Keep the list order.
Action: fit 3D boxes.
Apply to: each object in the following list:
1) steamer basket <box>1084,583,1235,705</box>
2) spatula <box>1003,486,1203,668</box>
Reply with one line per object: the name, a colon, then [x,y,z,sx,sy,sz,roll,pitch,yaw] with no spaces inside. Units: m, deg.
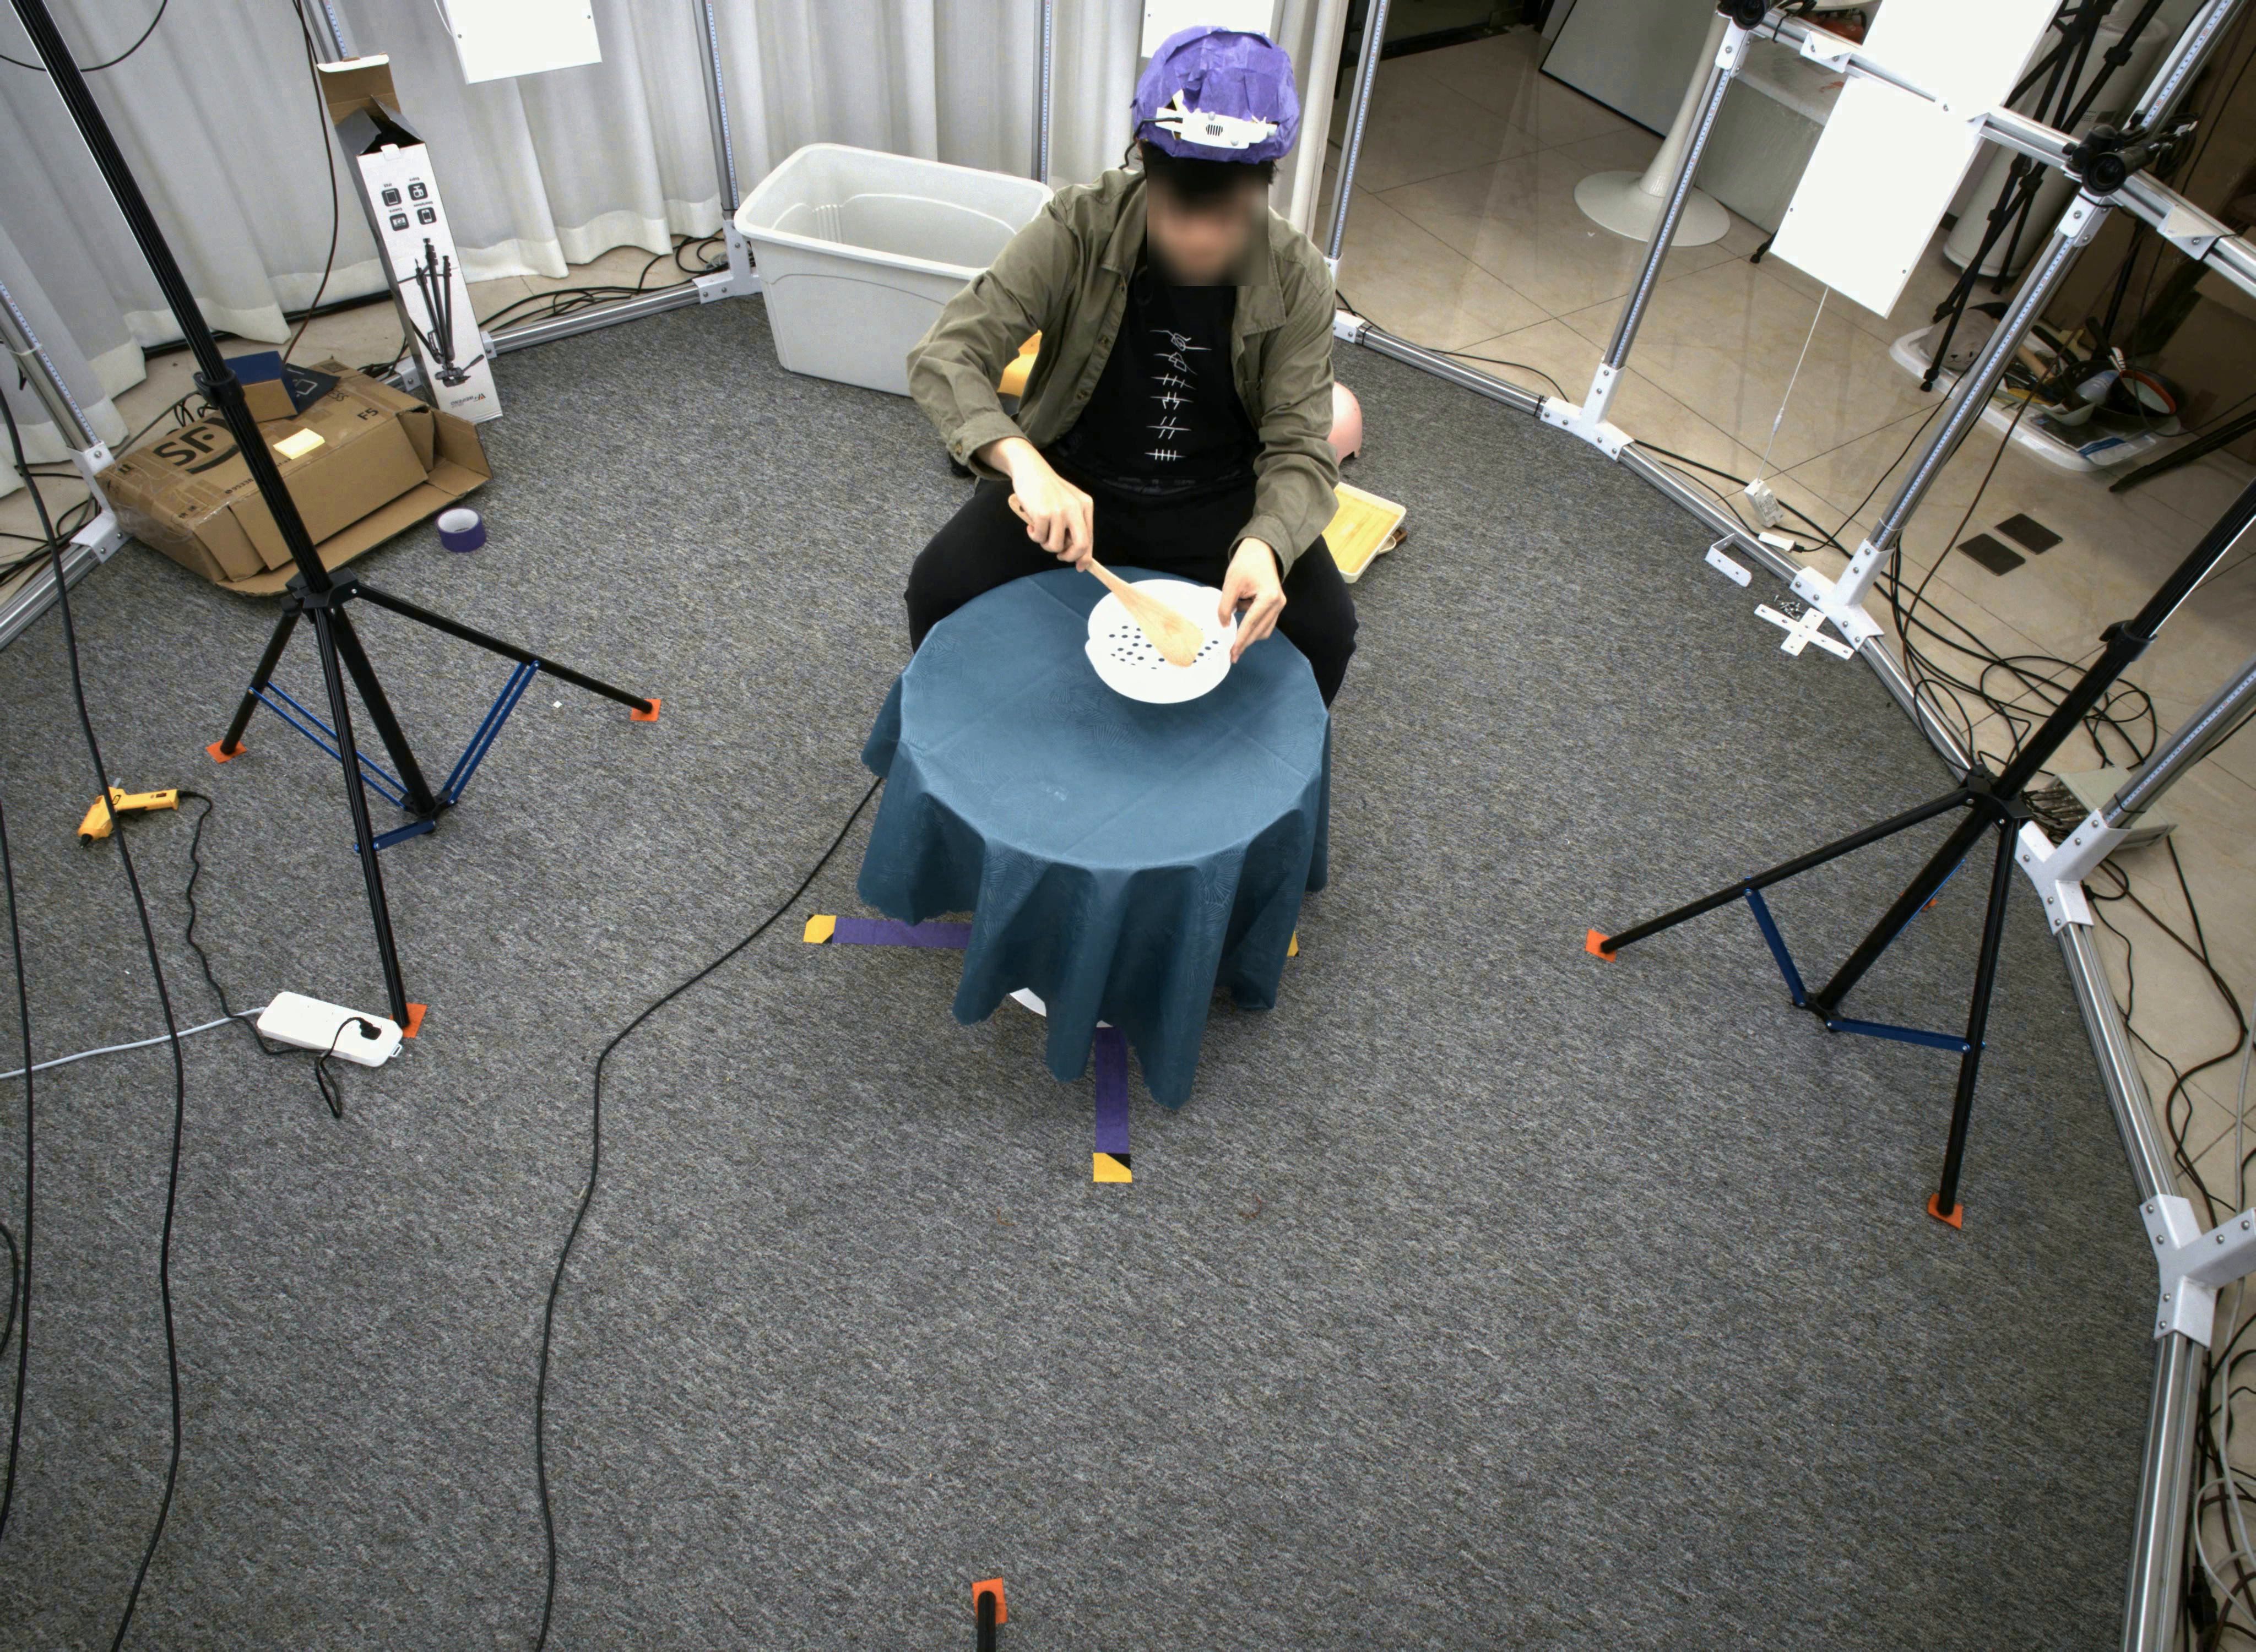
steamer basket: [0.043,-0.248,1.757,0.232,0.067,0.206,-27,52,-27]
spatula: [-0.035,-0.335,1.691,0.326,0.079,0.017,39,46,-5]
